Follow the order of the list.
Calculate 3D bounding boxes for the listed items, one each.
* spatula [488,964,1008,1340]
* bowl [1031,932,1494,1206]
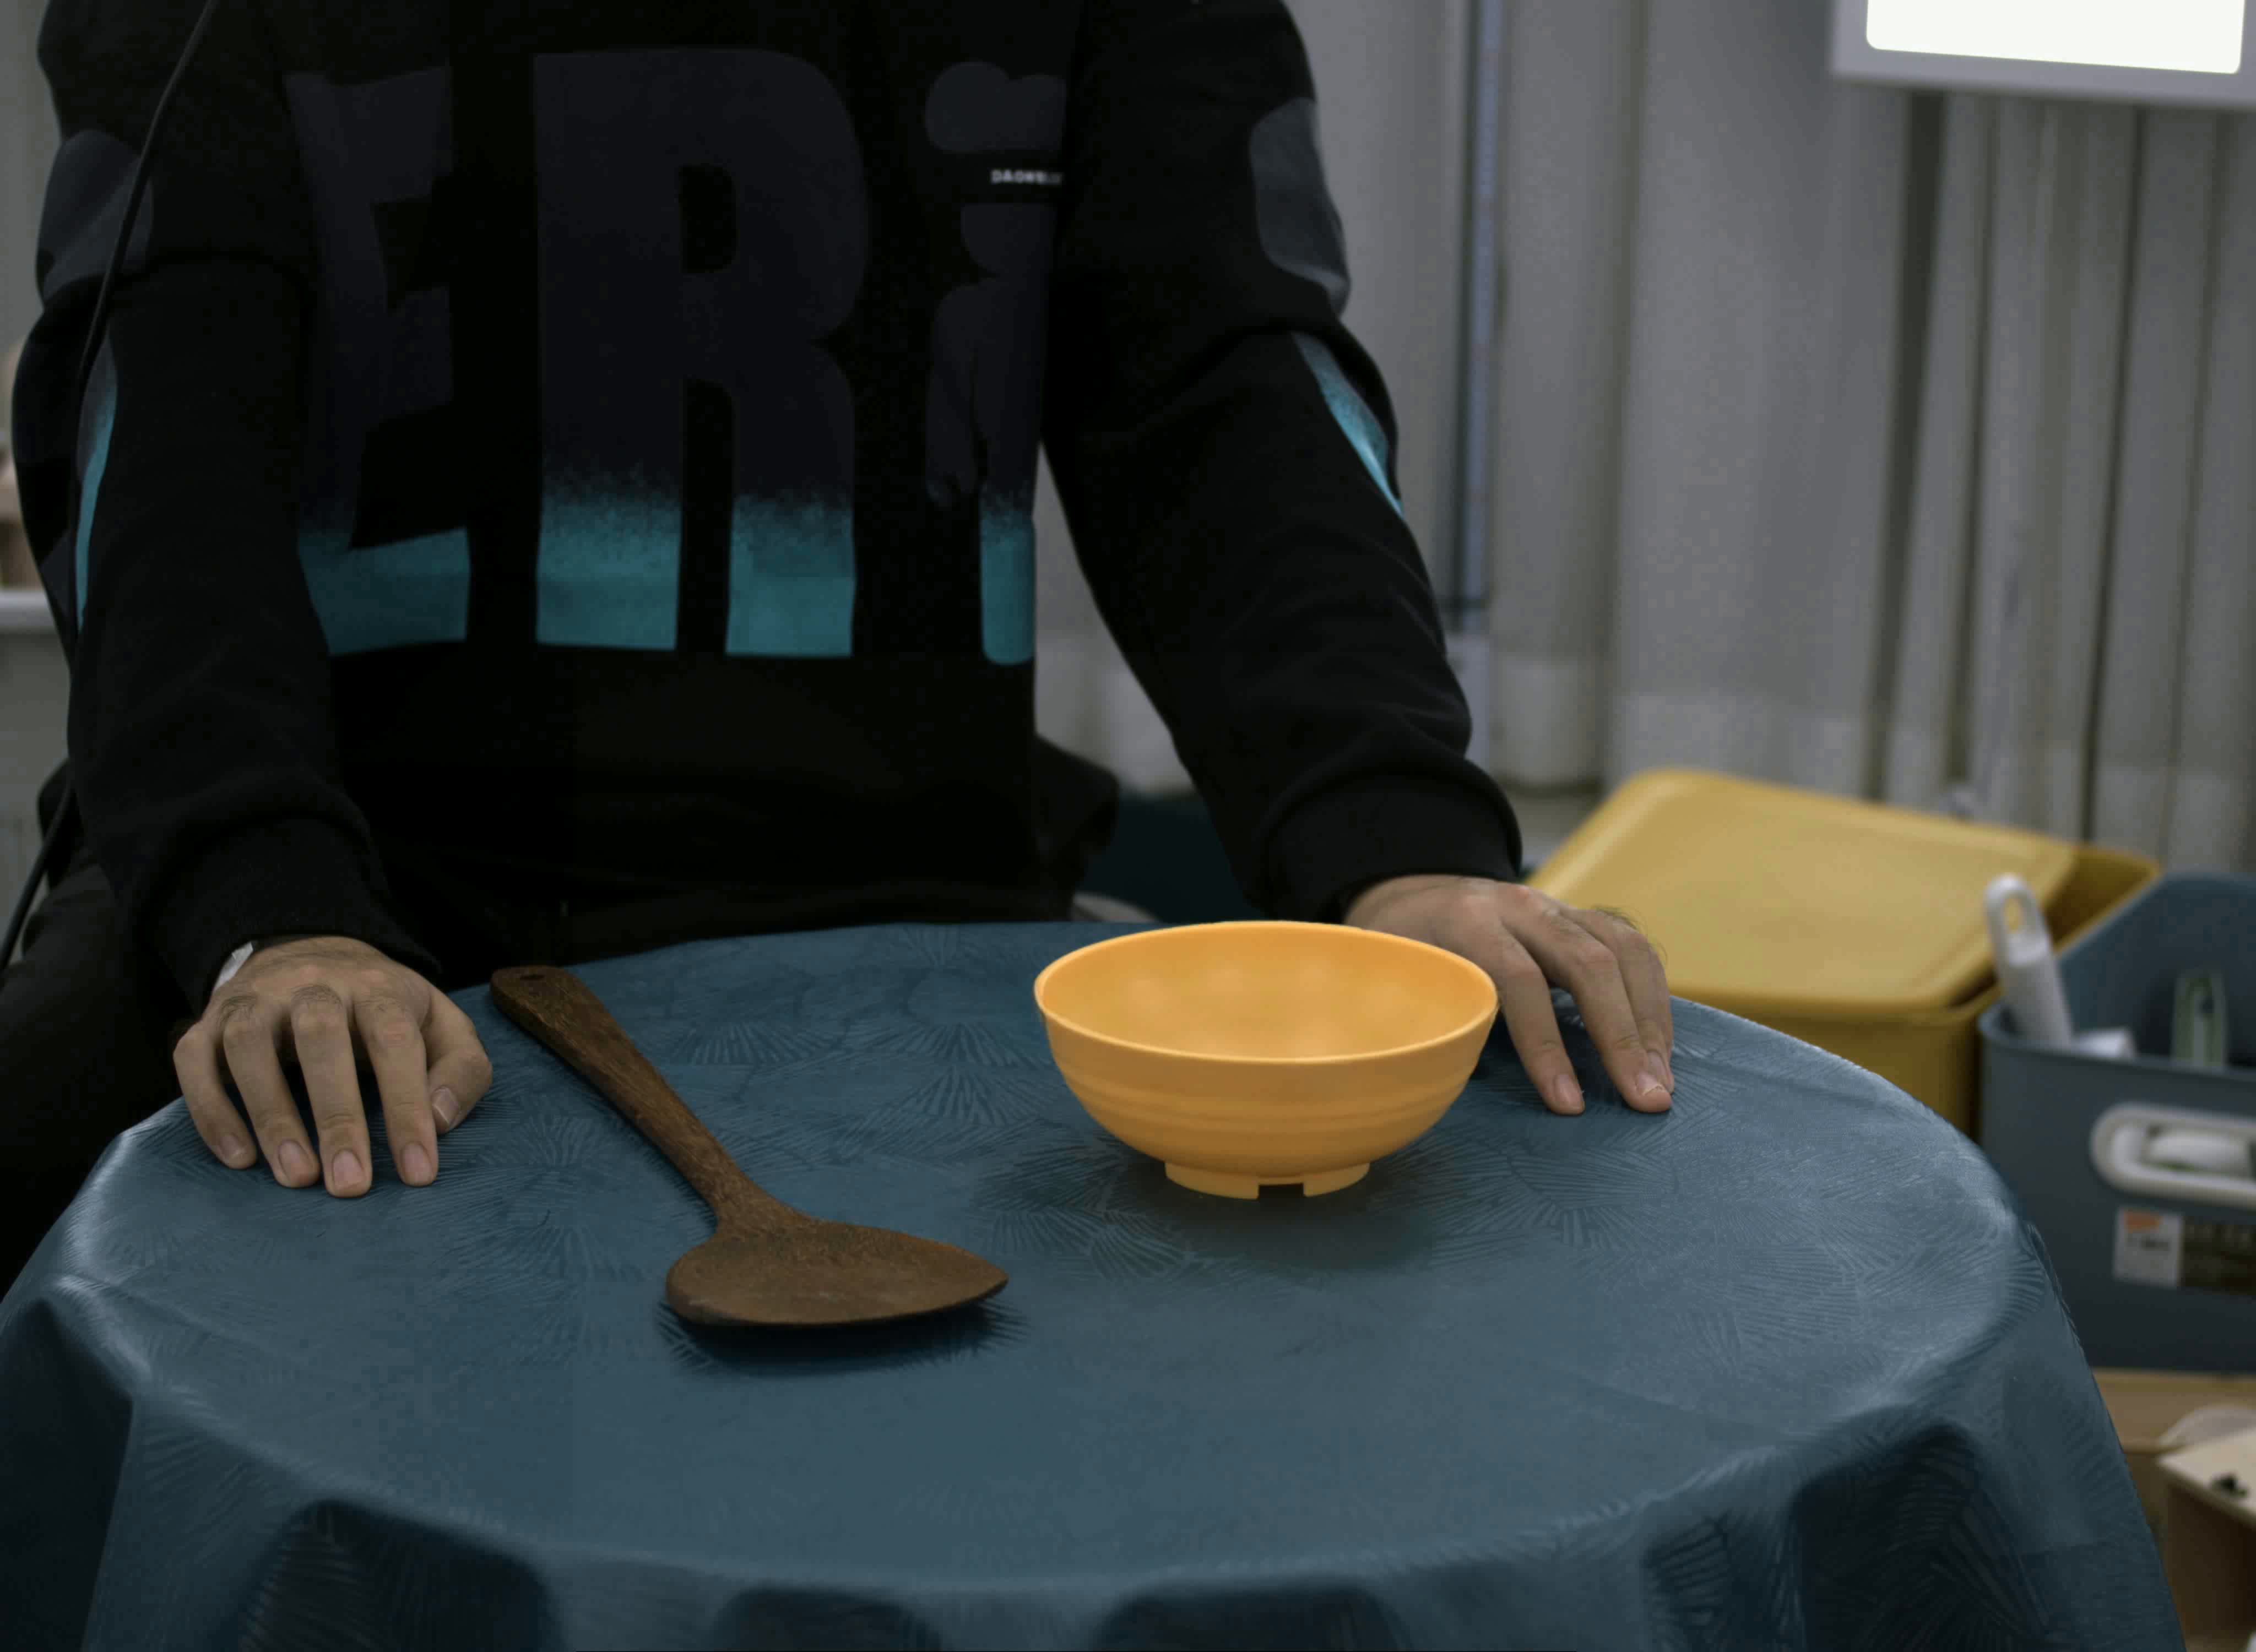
[{"bbox_3d":[-0.142,0.096,1.654,0.096,0.016,0.381,-5,17,-21],"label":"spatula"},{"bbox_3d":[0.040,0.080,1.642,0.145,0.060,0.144,3,14,0],"label":"bowl"}]
